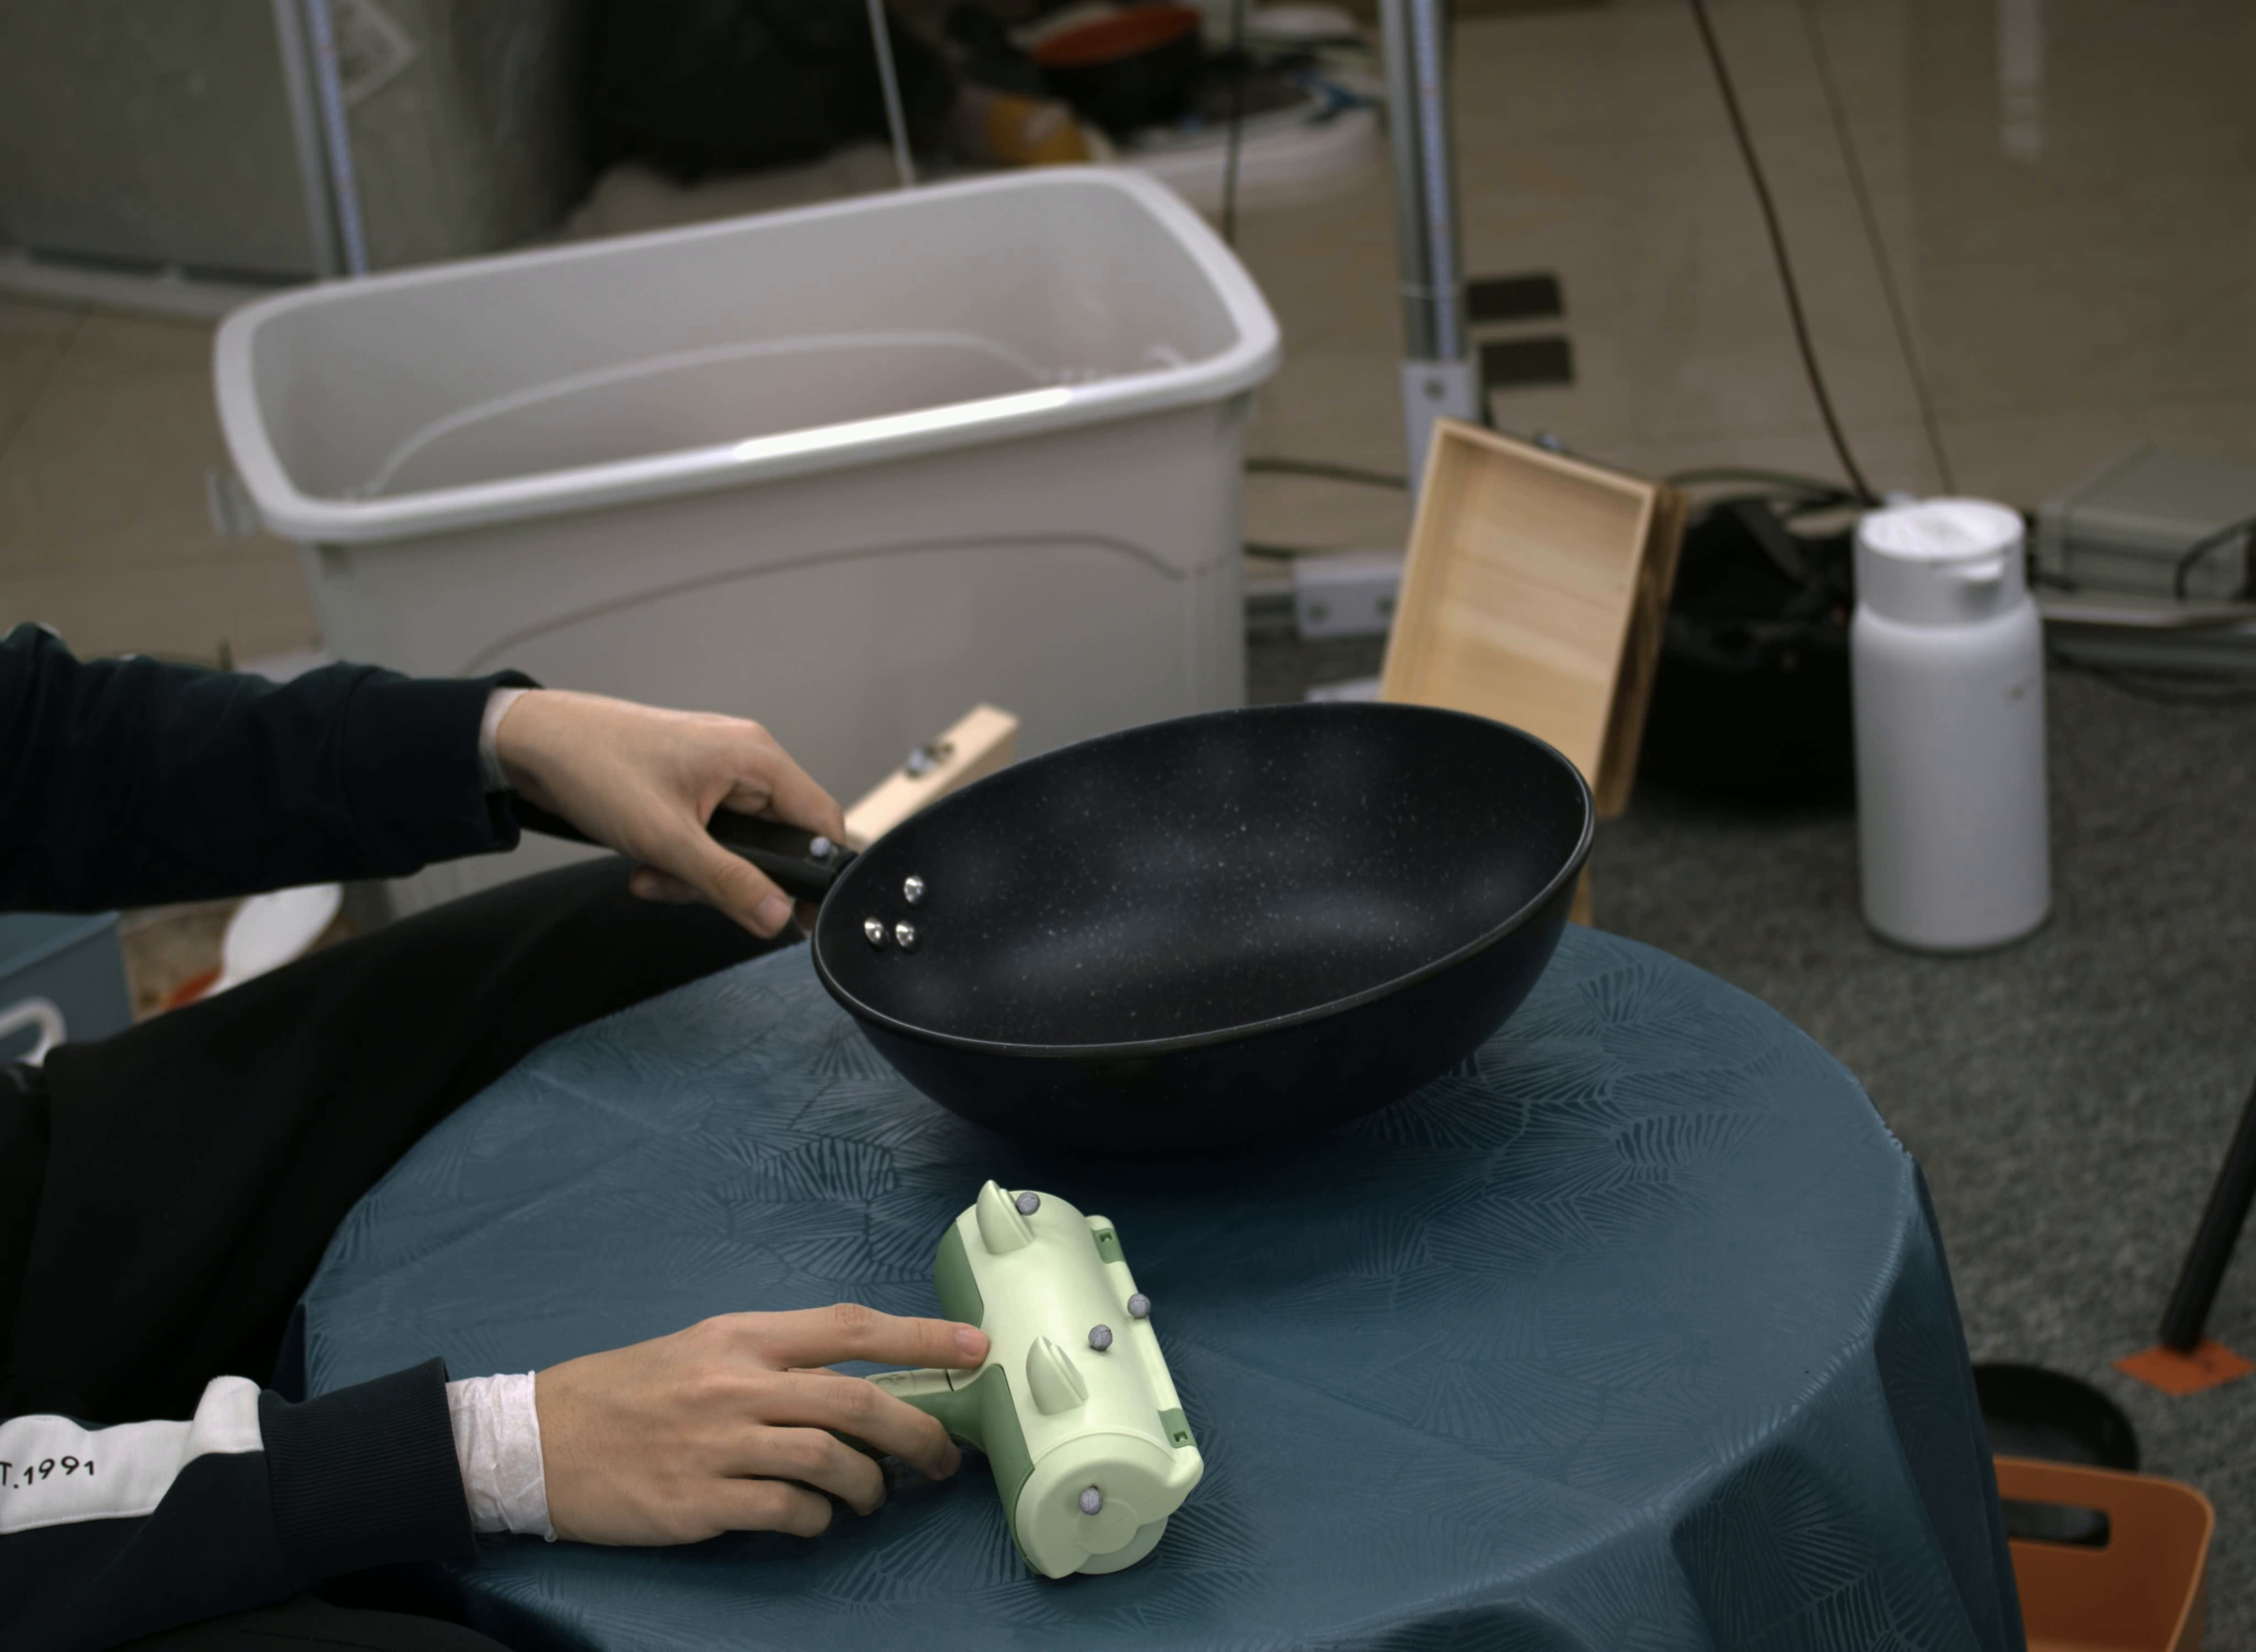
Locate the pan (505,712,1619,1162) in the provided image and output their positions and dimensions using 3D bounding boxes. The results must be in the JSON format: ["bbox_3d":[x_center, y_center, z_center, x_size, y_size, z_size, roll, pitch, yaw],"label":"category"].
[{"bbox_3d":[-0.034,0.042,2.236,0.476,0.113,0.306,1,25,27],"label":"pan"}]

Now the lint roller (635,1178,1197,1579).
[{"bbox_3d":[-0.081,0.190,1.966,0.183,0.083,0.196,-5,25,-8],"label":"lint roller"}]
